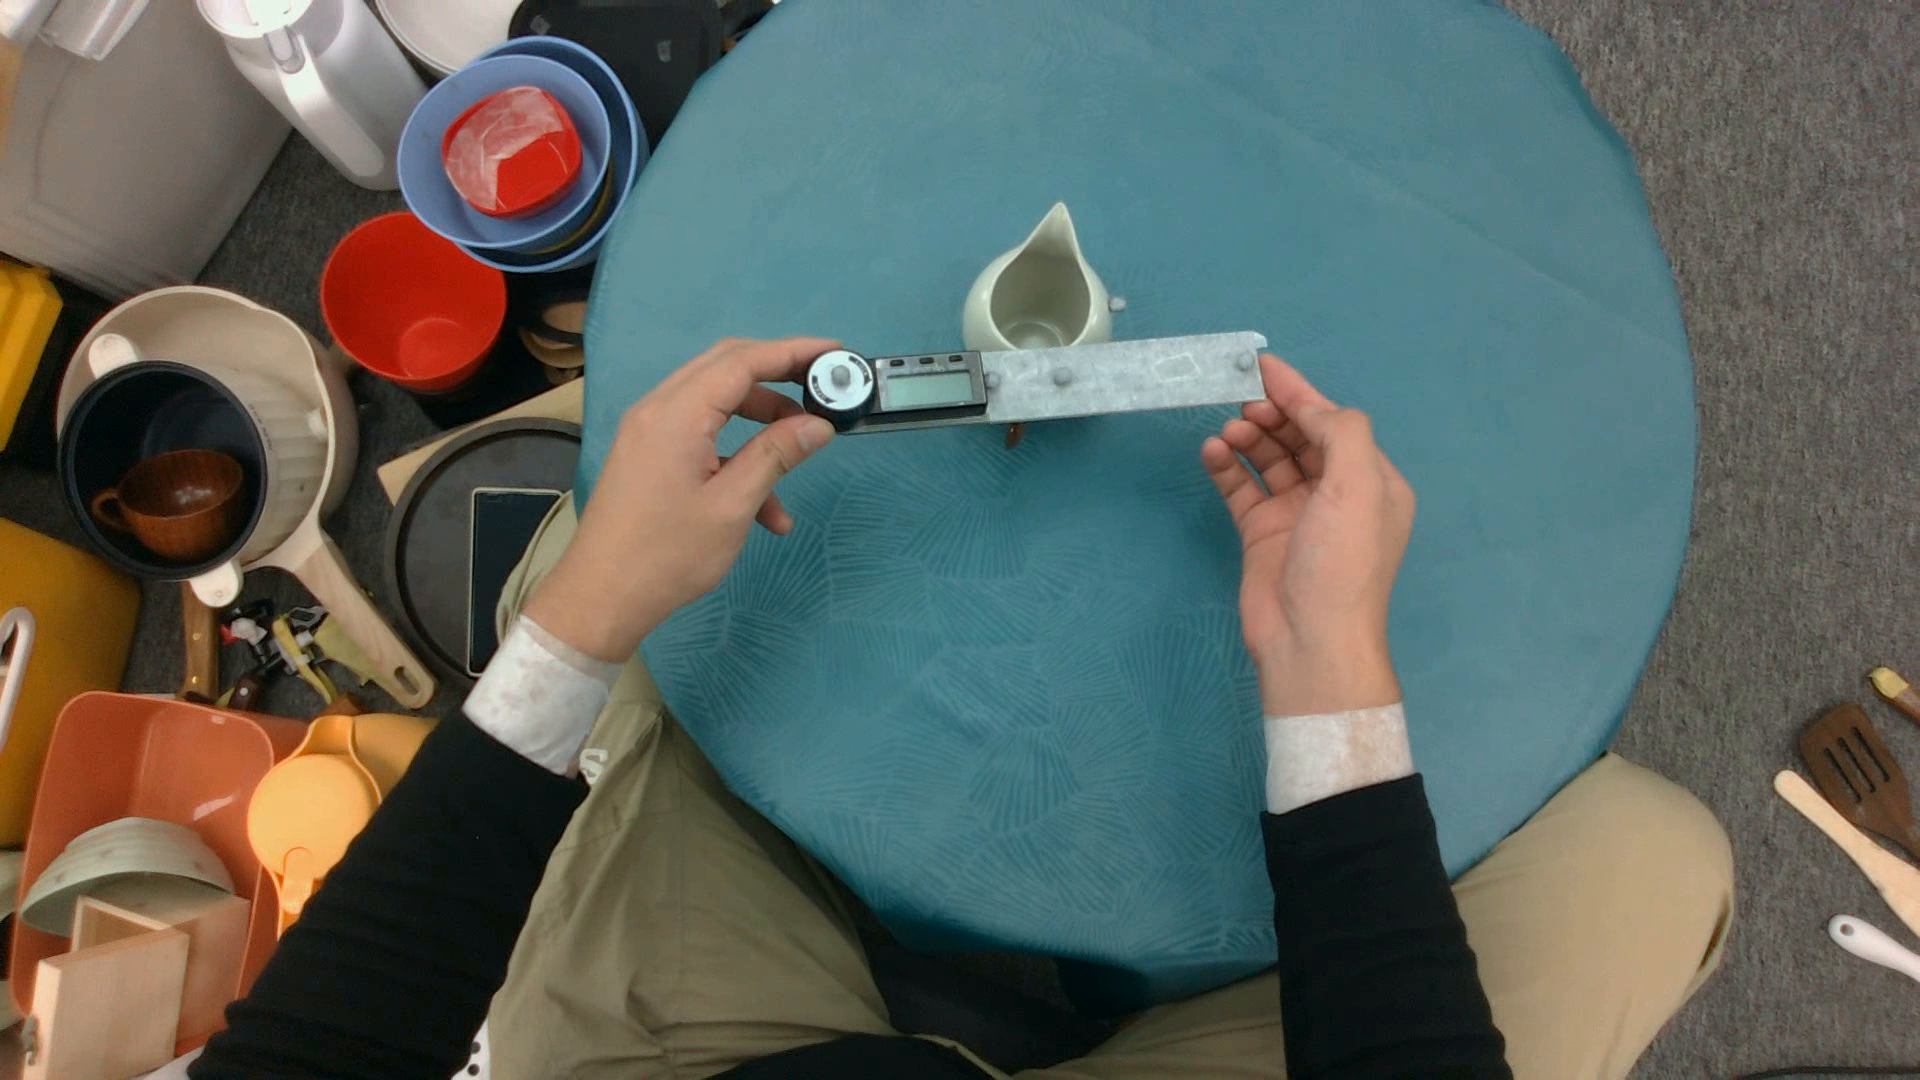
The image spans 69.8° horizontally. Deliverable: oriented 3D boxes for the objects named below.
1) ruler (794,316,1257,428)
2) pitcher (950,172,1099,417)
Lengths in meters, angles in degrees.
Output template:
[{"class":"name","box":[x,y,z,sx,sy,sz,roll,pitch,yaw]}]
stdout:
[{"class":"ruler","box":[0.033,-0.080,0.635,0.218,0.024,0.038,-6,79,-8]},{"class":"pitcher","box":[0.031,-0.114,0.703,0.076,0.087,0.119,14,78,5]}]
